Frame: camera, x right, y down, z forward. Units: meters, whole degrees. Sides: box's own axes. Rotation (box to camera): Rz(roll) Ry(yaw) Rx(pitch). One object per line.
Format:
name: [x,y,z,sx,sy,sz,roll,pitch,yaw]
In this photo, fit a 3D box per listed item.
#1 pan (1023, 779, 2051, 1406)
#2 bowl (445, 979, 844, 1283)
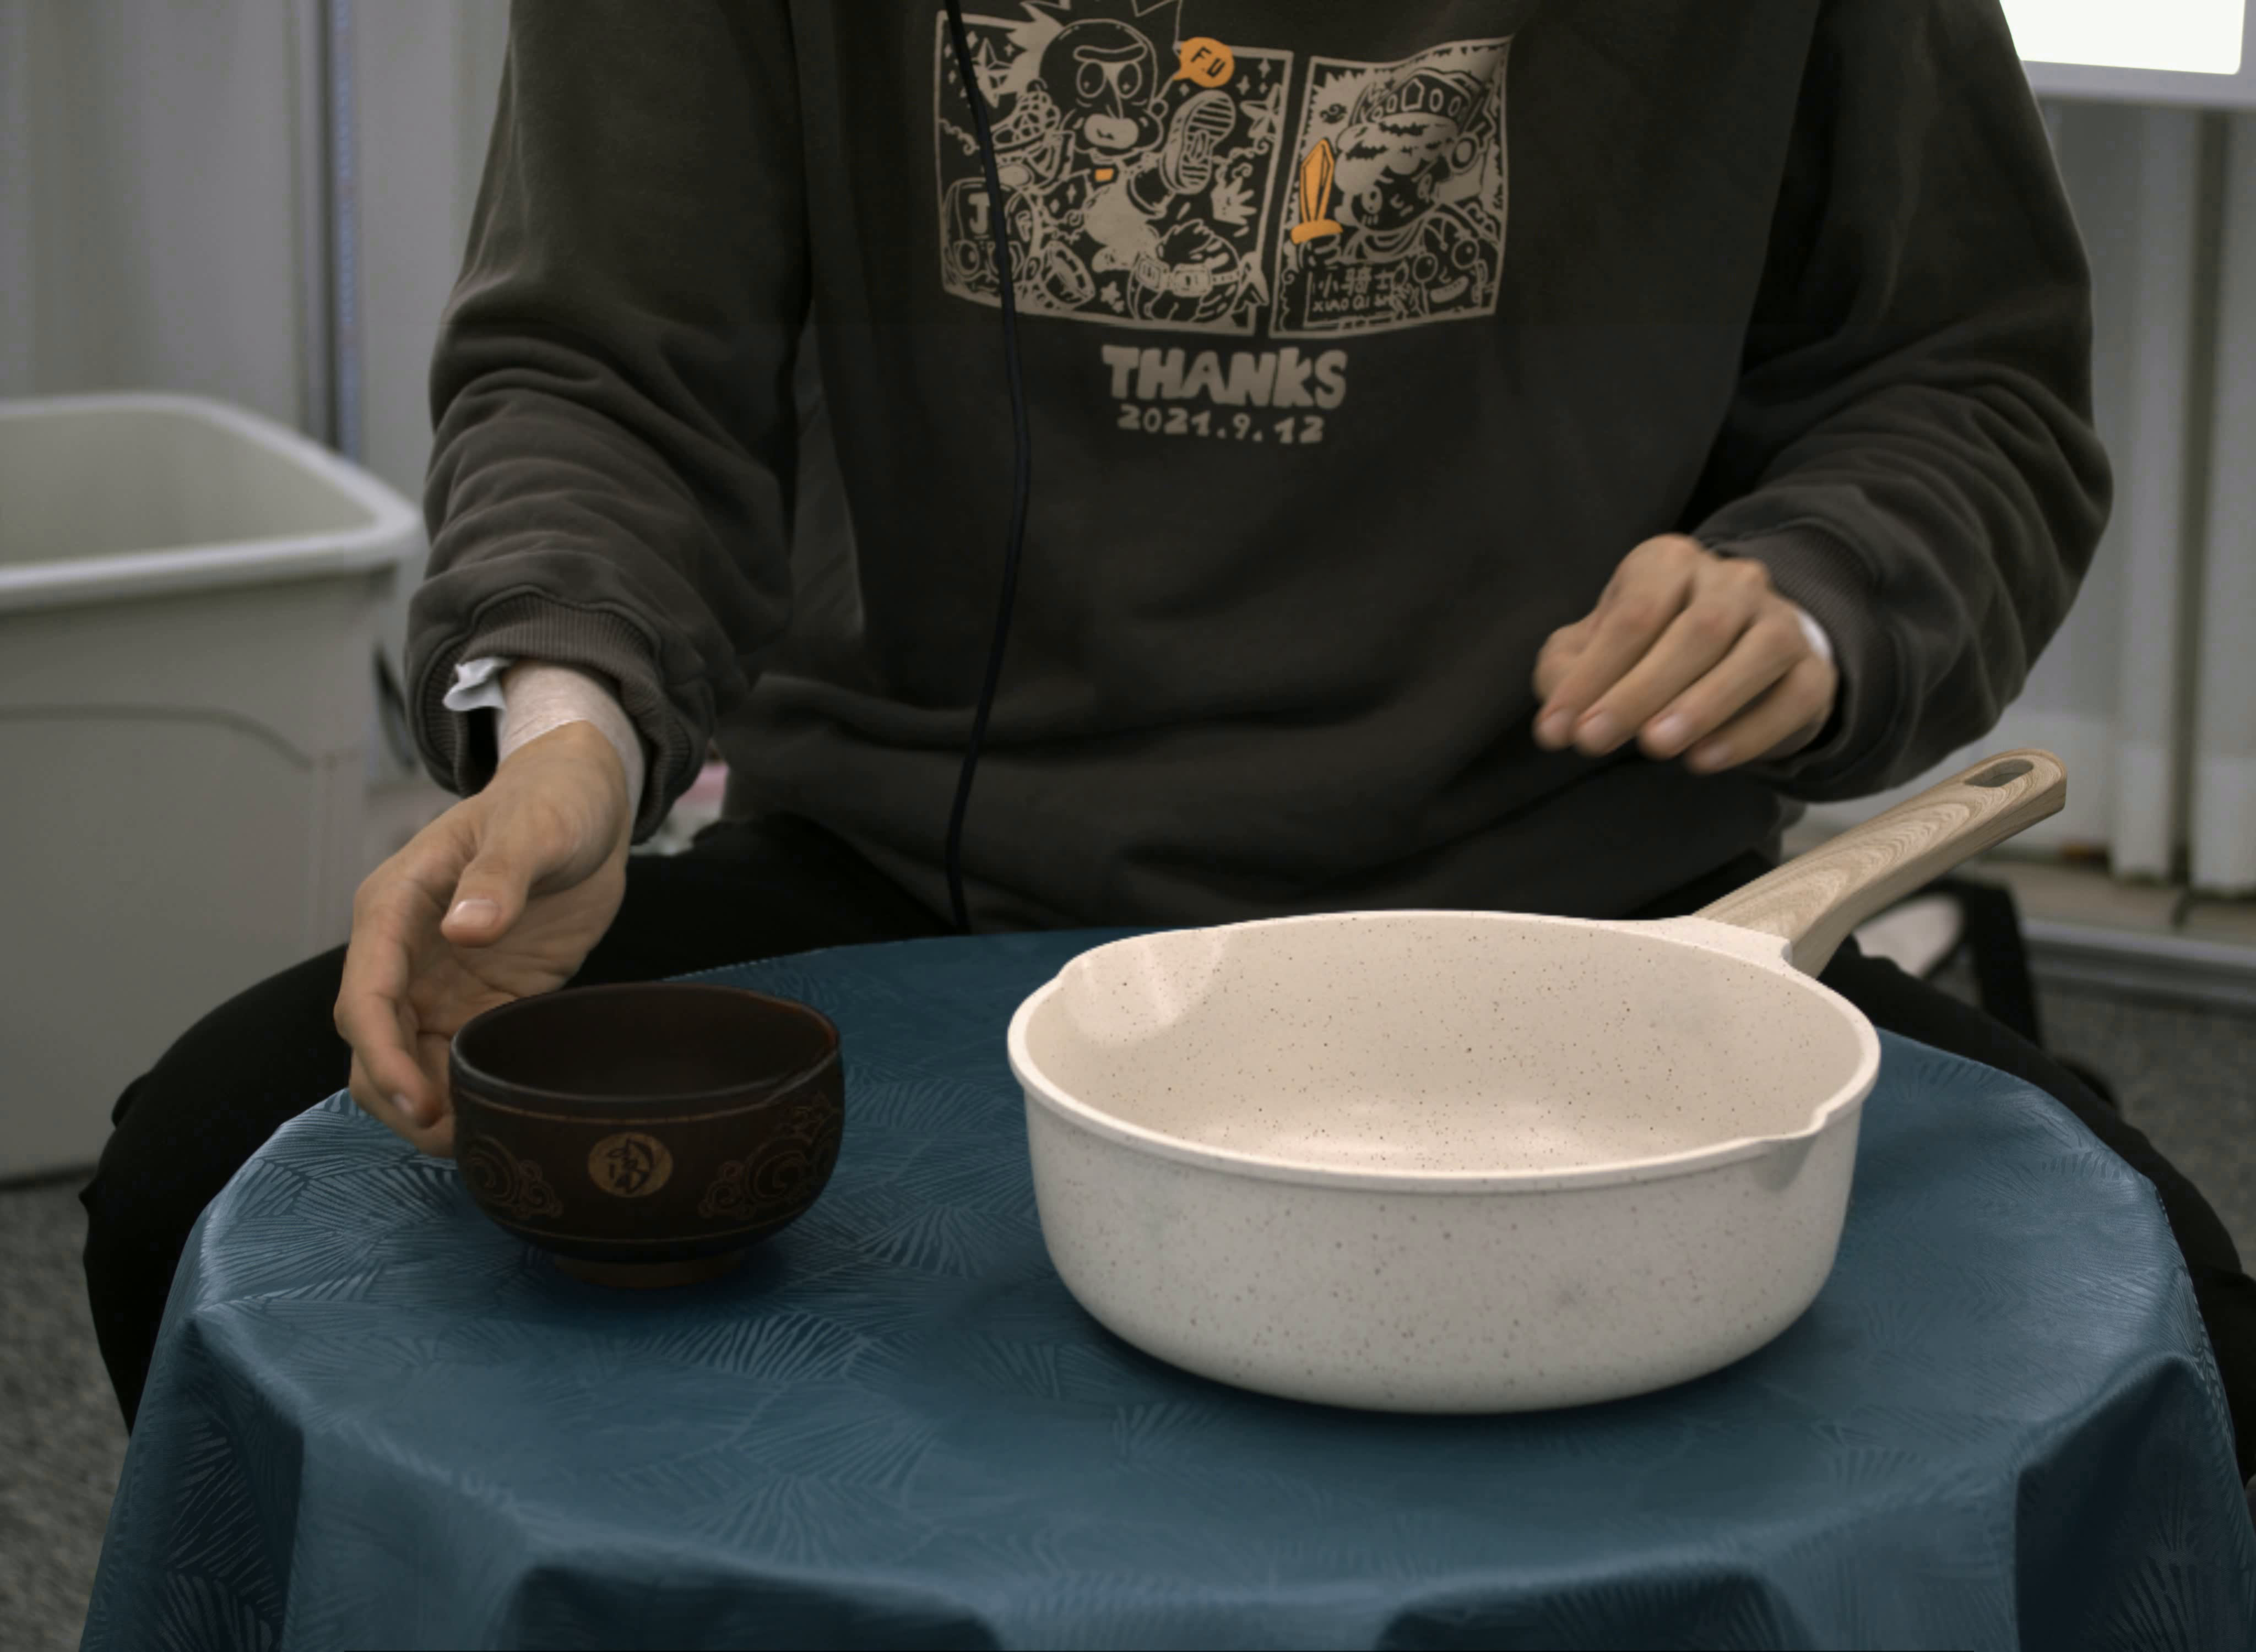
pan: [0.156,0.074,1.592,0.260,0.103,0.437,11,18,40]
bowl: [-0.143,0.094,1.559,0.117,0.070,0.117,0,14,1]
